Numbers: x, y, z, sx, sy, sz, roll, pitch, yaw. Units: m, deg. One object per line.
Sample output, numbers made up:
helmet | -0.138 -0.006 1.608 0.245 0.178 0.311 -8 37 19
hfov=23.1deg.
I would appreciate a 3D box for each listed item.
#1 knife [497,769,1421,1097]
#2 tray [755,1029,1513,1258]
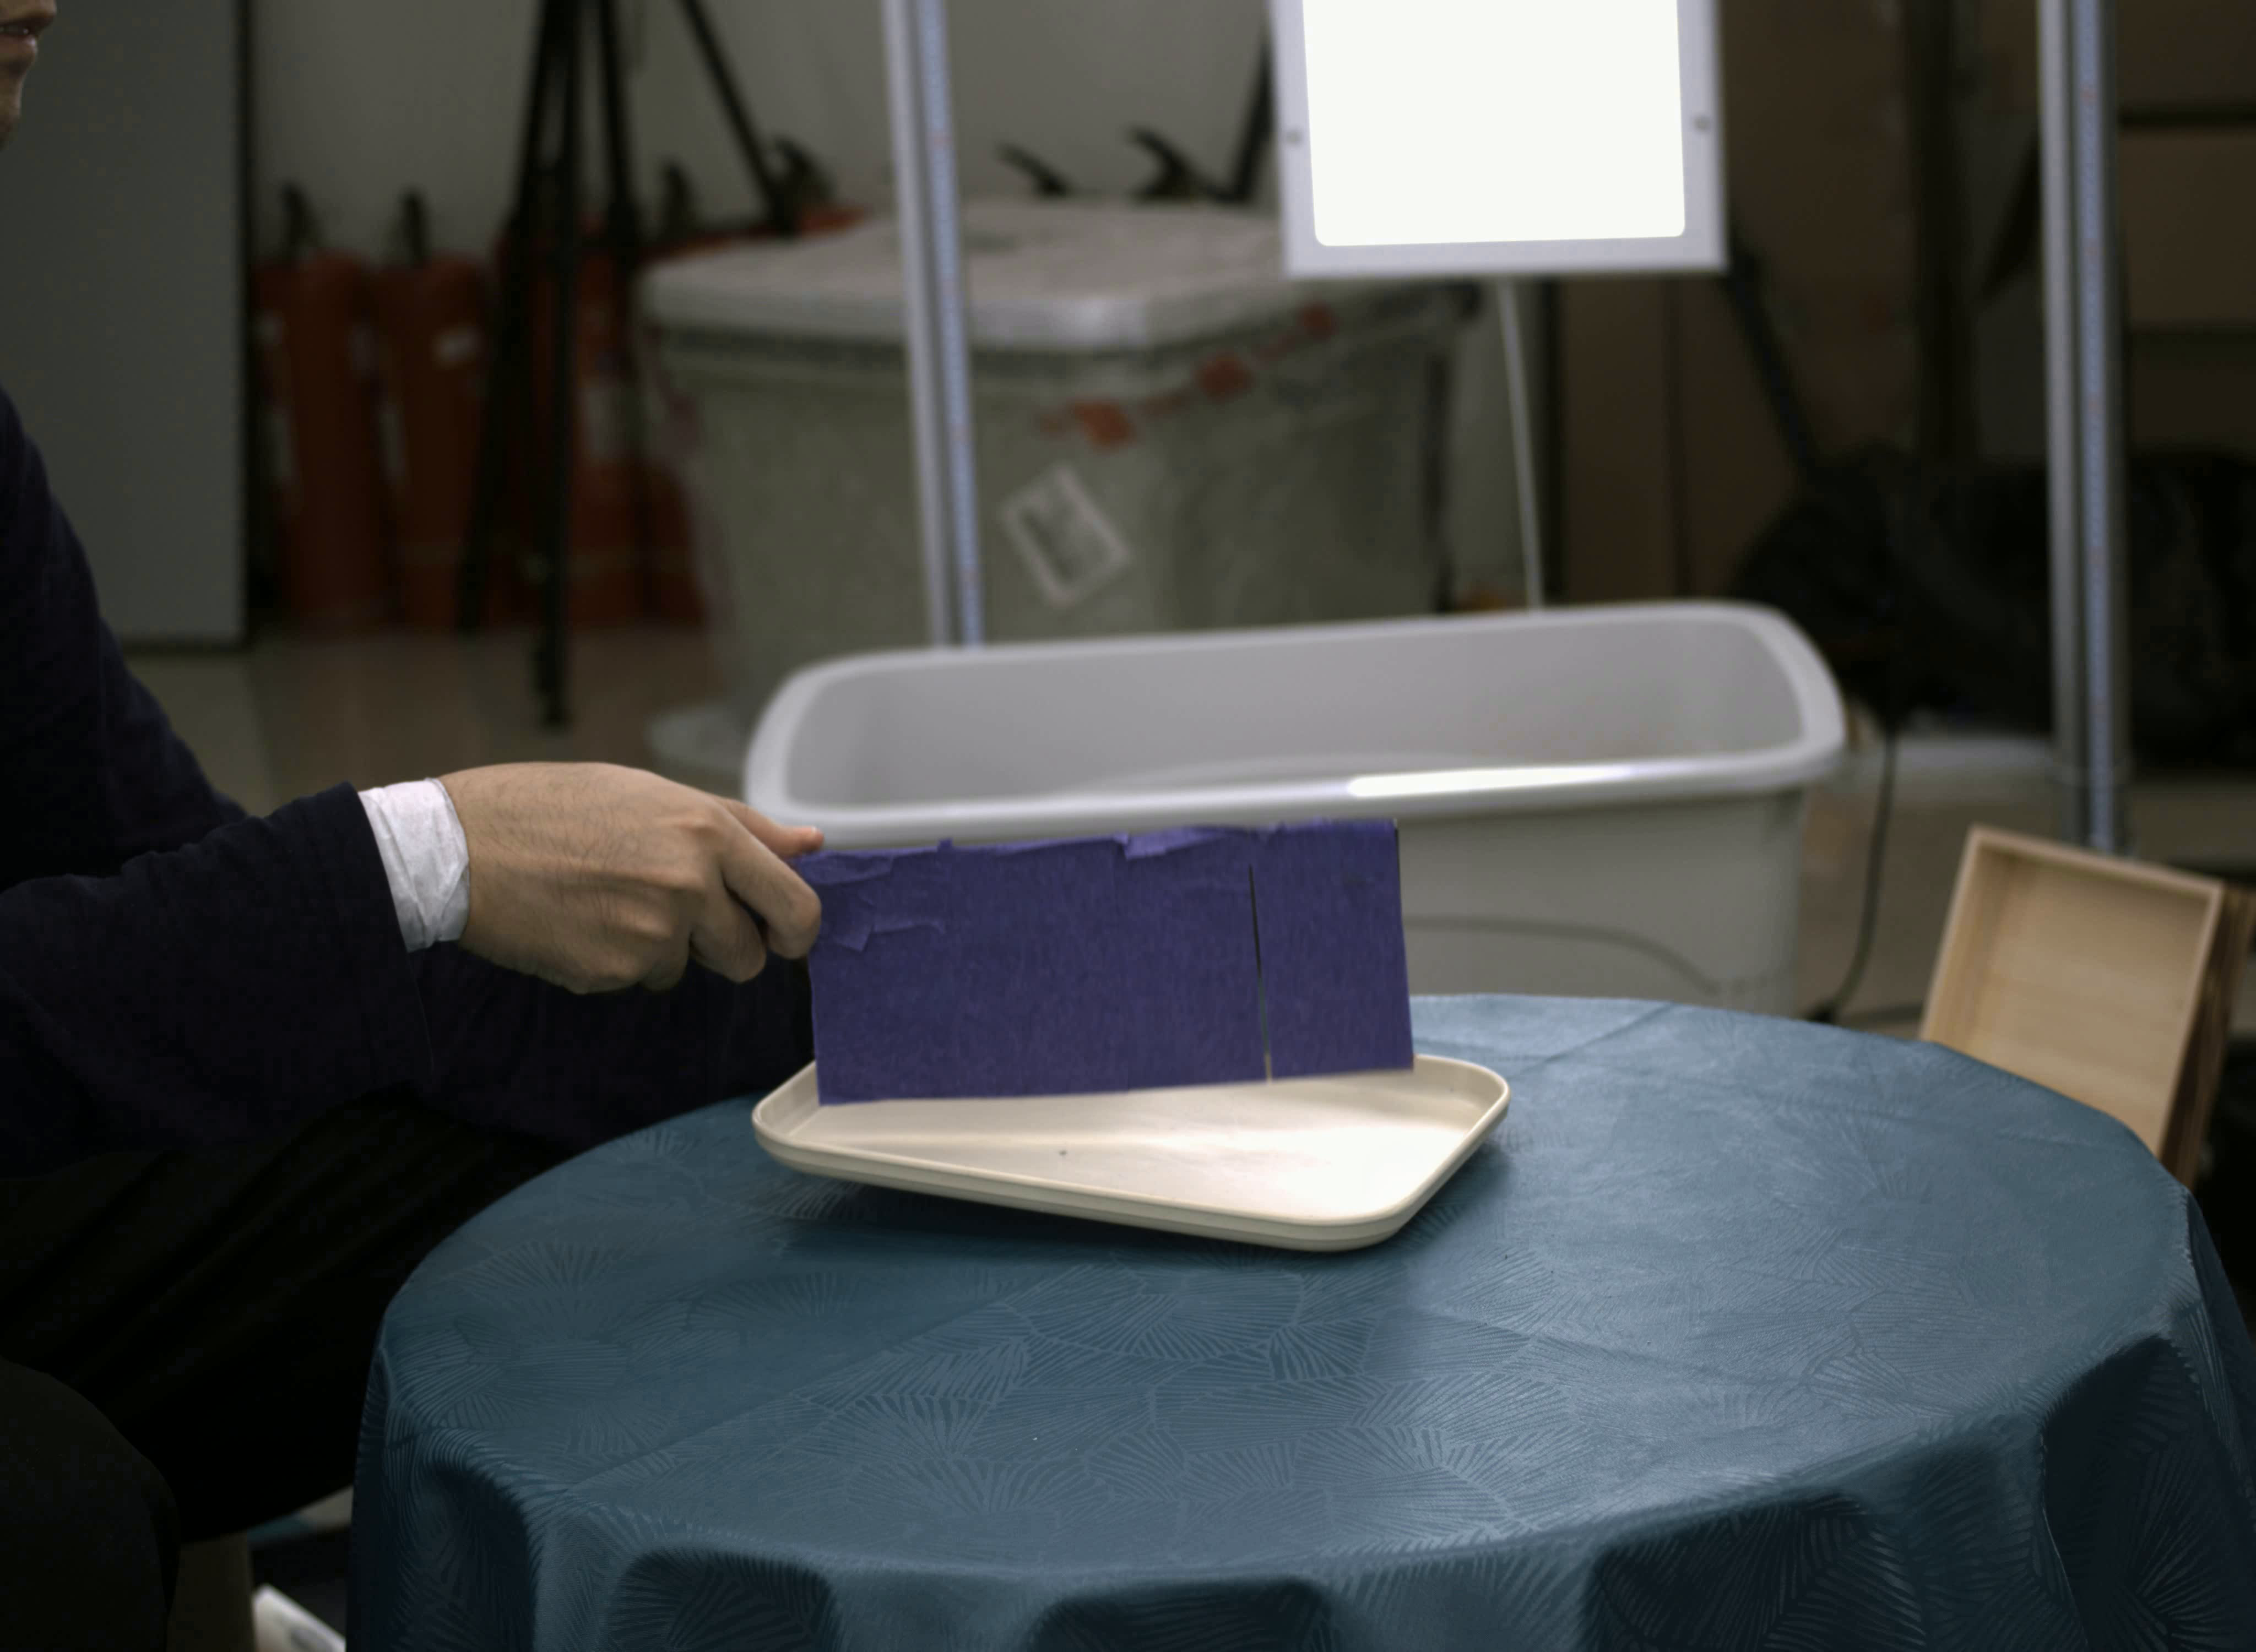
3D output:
knife | -0.057 0.045 1.892 0.315 0.104 0.032 -5 9 4
tray | 0.003 0.103 1.913 0.243 0.017 0.168 7 20 22
